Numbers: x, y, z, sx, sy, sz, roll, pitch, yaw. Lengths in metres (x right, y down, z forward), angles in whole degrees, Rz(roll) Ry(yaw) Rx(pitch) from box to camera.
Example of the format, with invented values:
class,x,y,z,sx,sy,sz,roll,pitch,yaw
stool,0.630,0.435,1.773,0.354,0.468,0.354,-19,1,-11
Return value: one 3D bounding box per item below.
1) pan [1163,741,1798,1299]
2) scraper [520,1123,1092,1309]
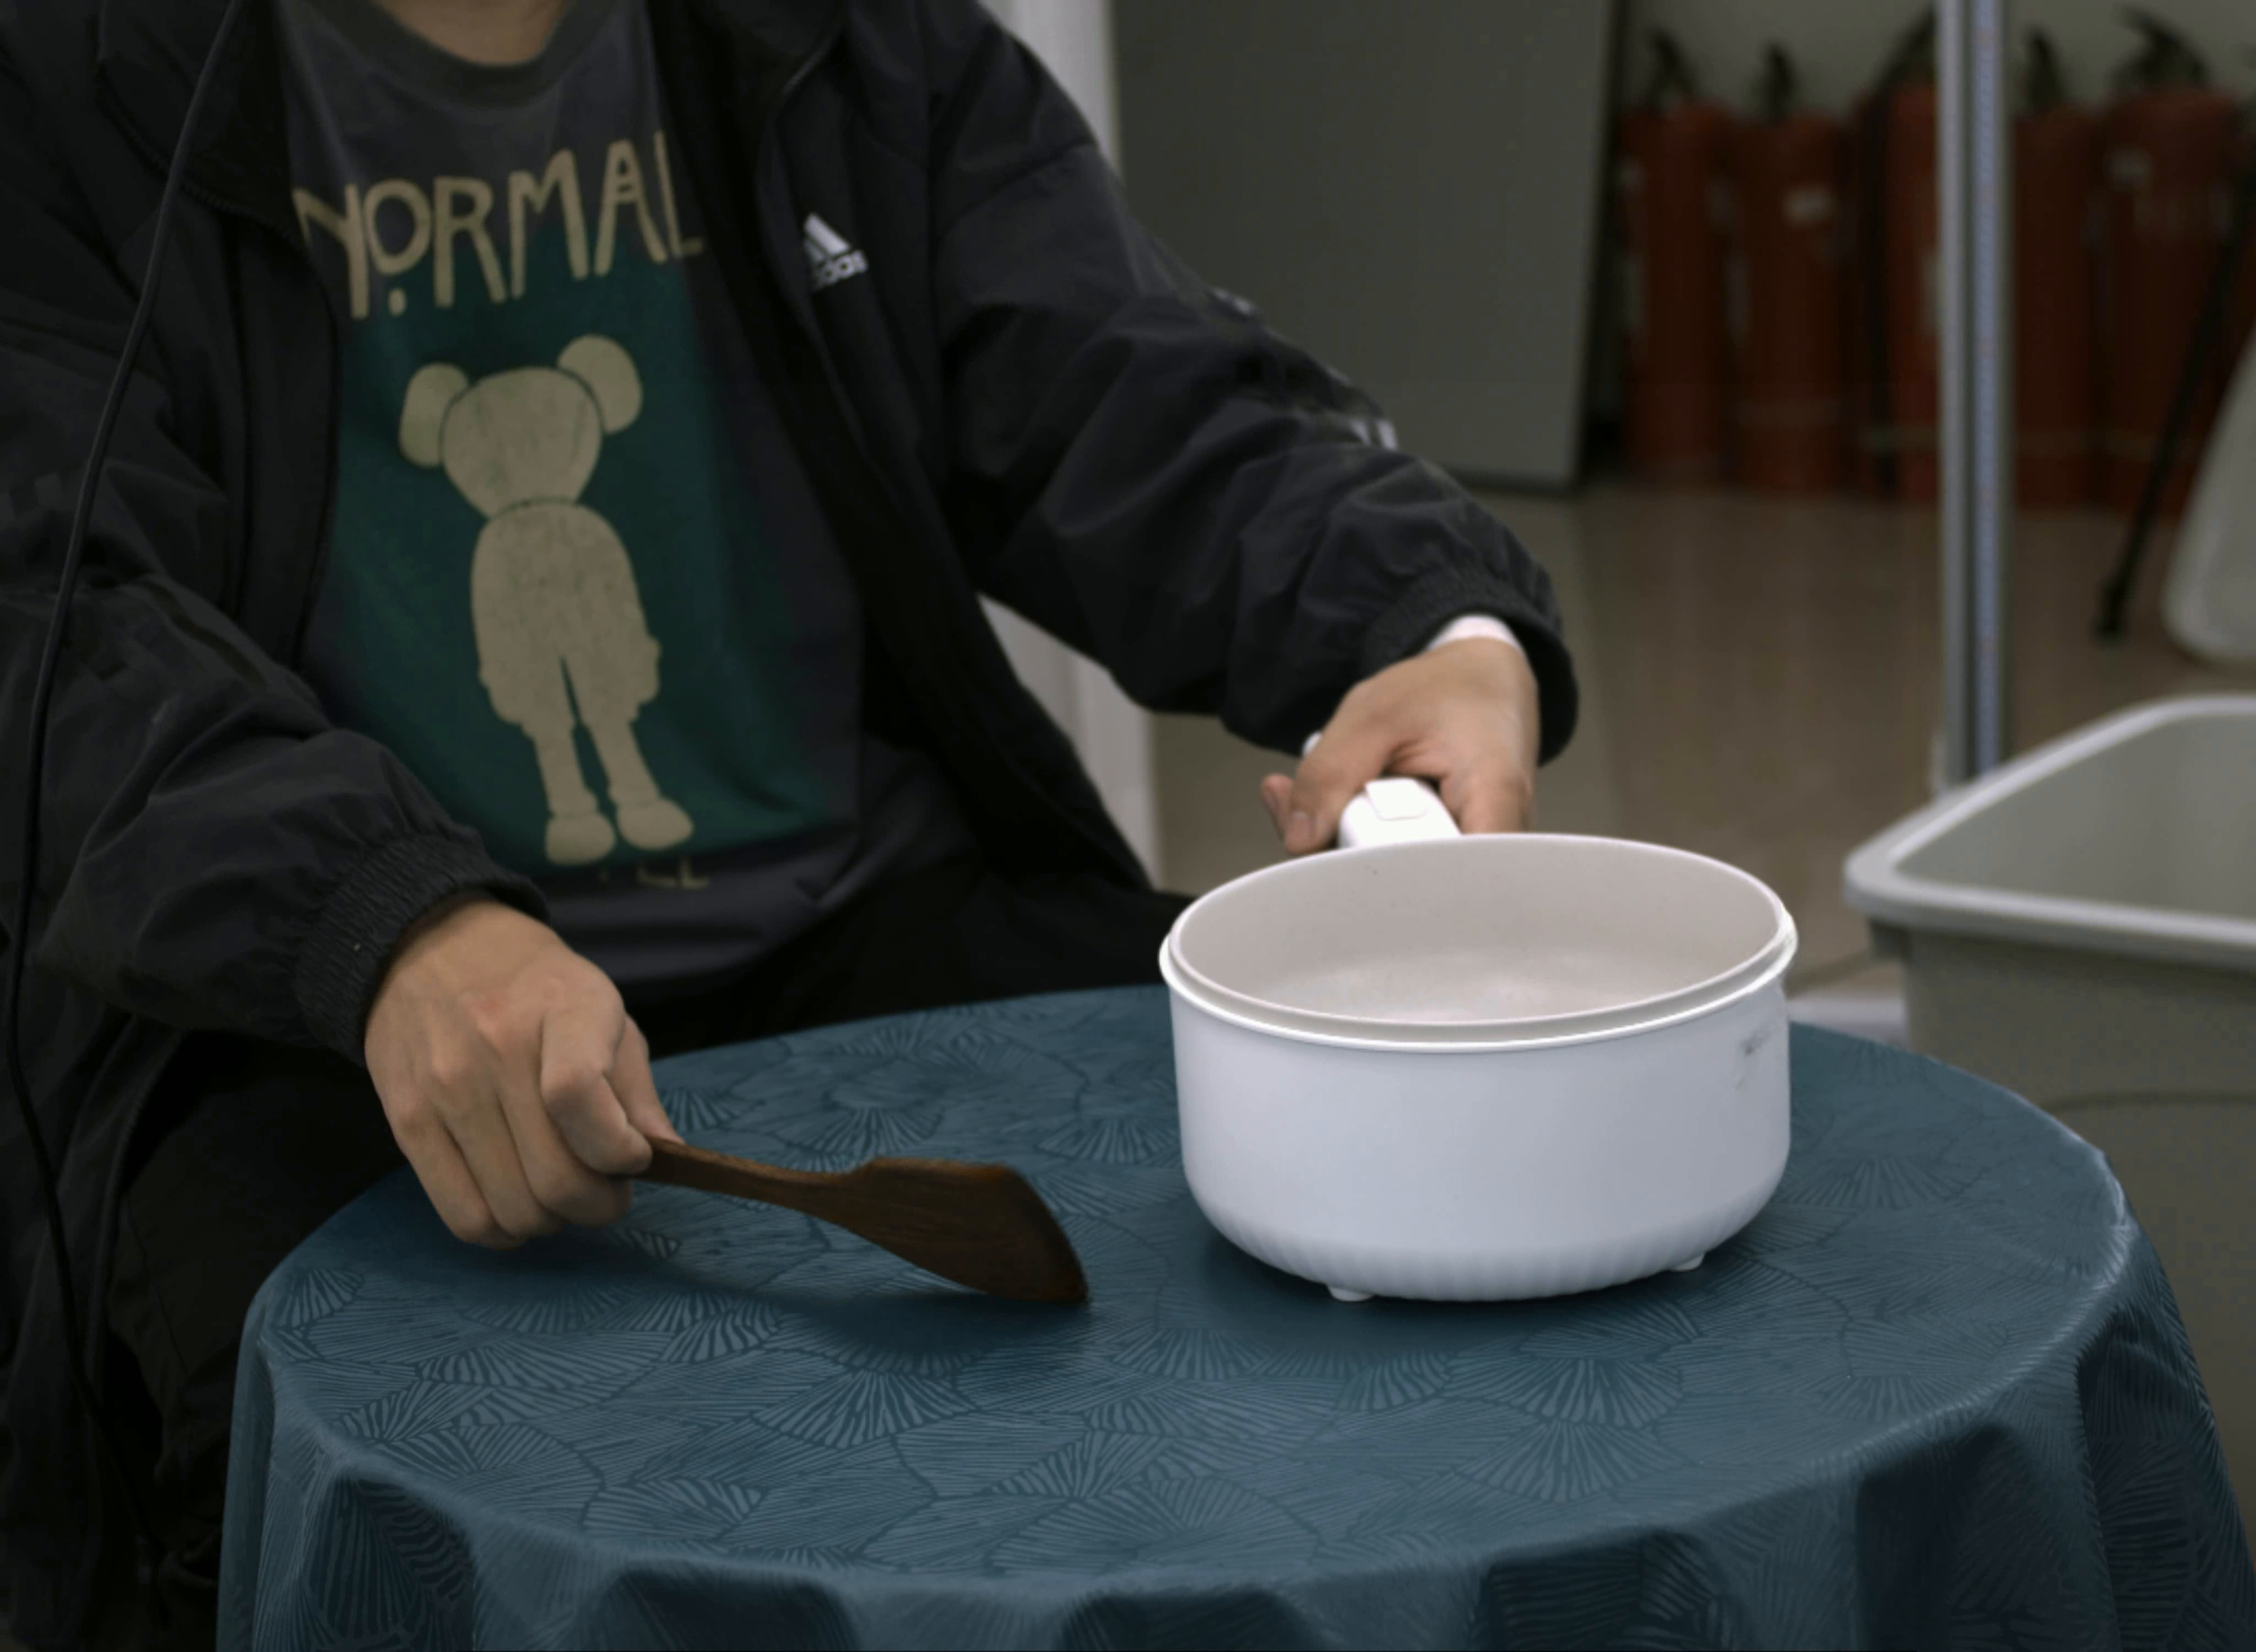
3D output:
class,x,y,z,sx,sy,sz,roll,pitch,yaw
pan,0.106,0.059,1.770,0.198,0.103,0.356,-6,14,-4
scraper,-0.106,0.115,1.694,0.212,0.075,0.011,6,50,34
